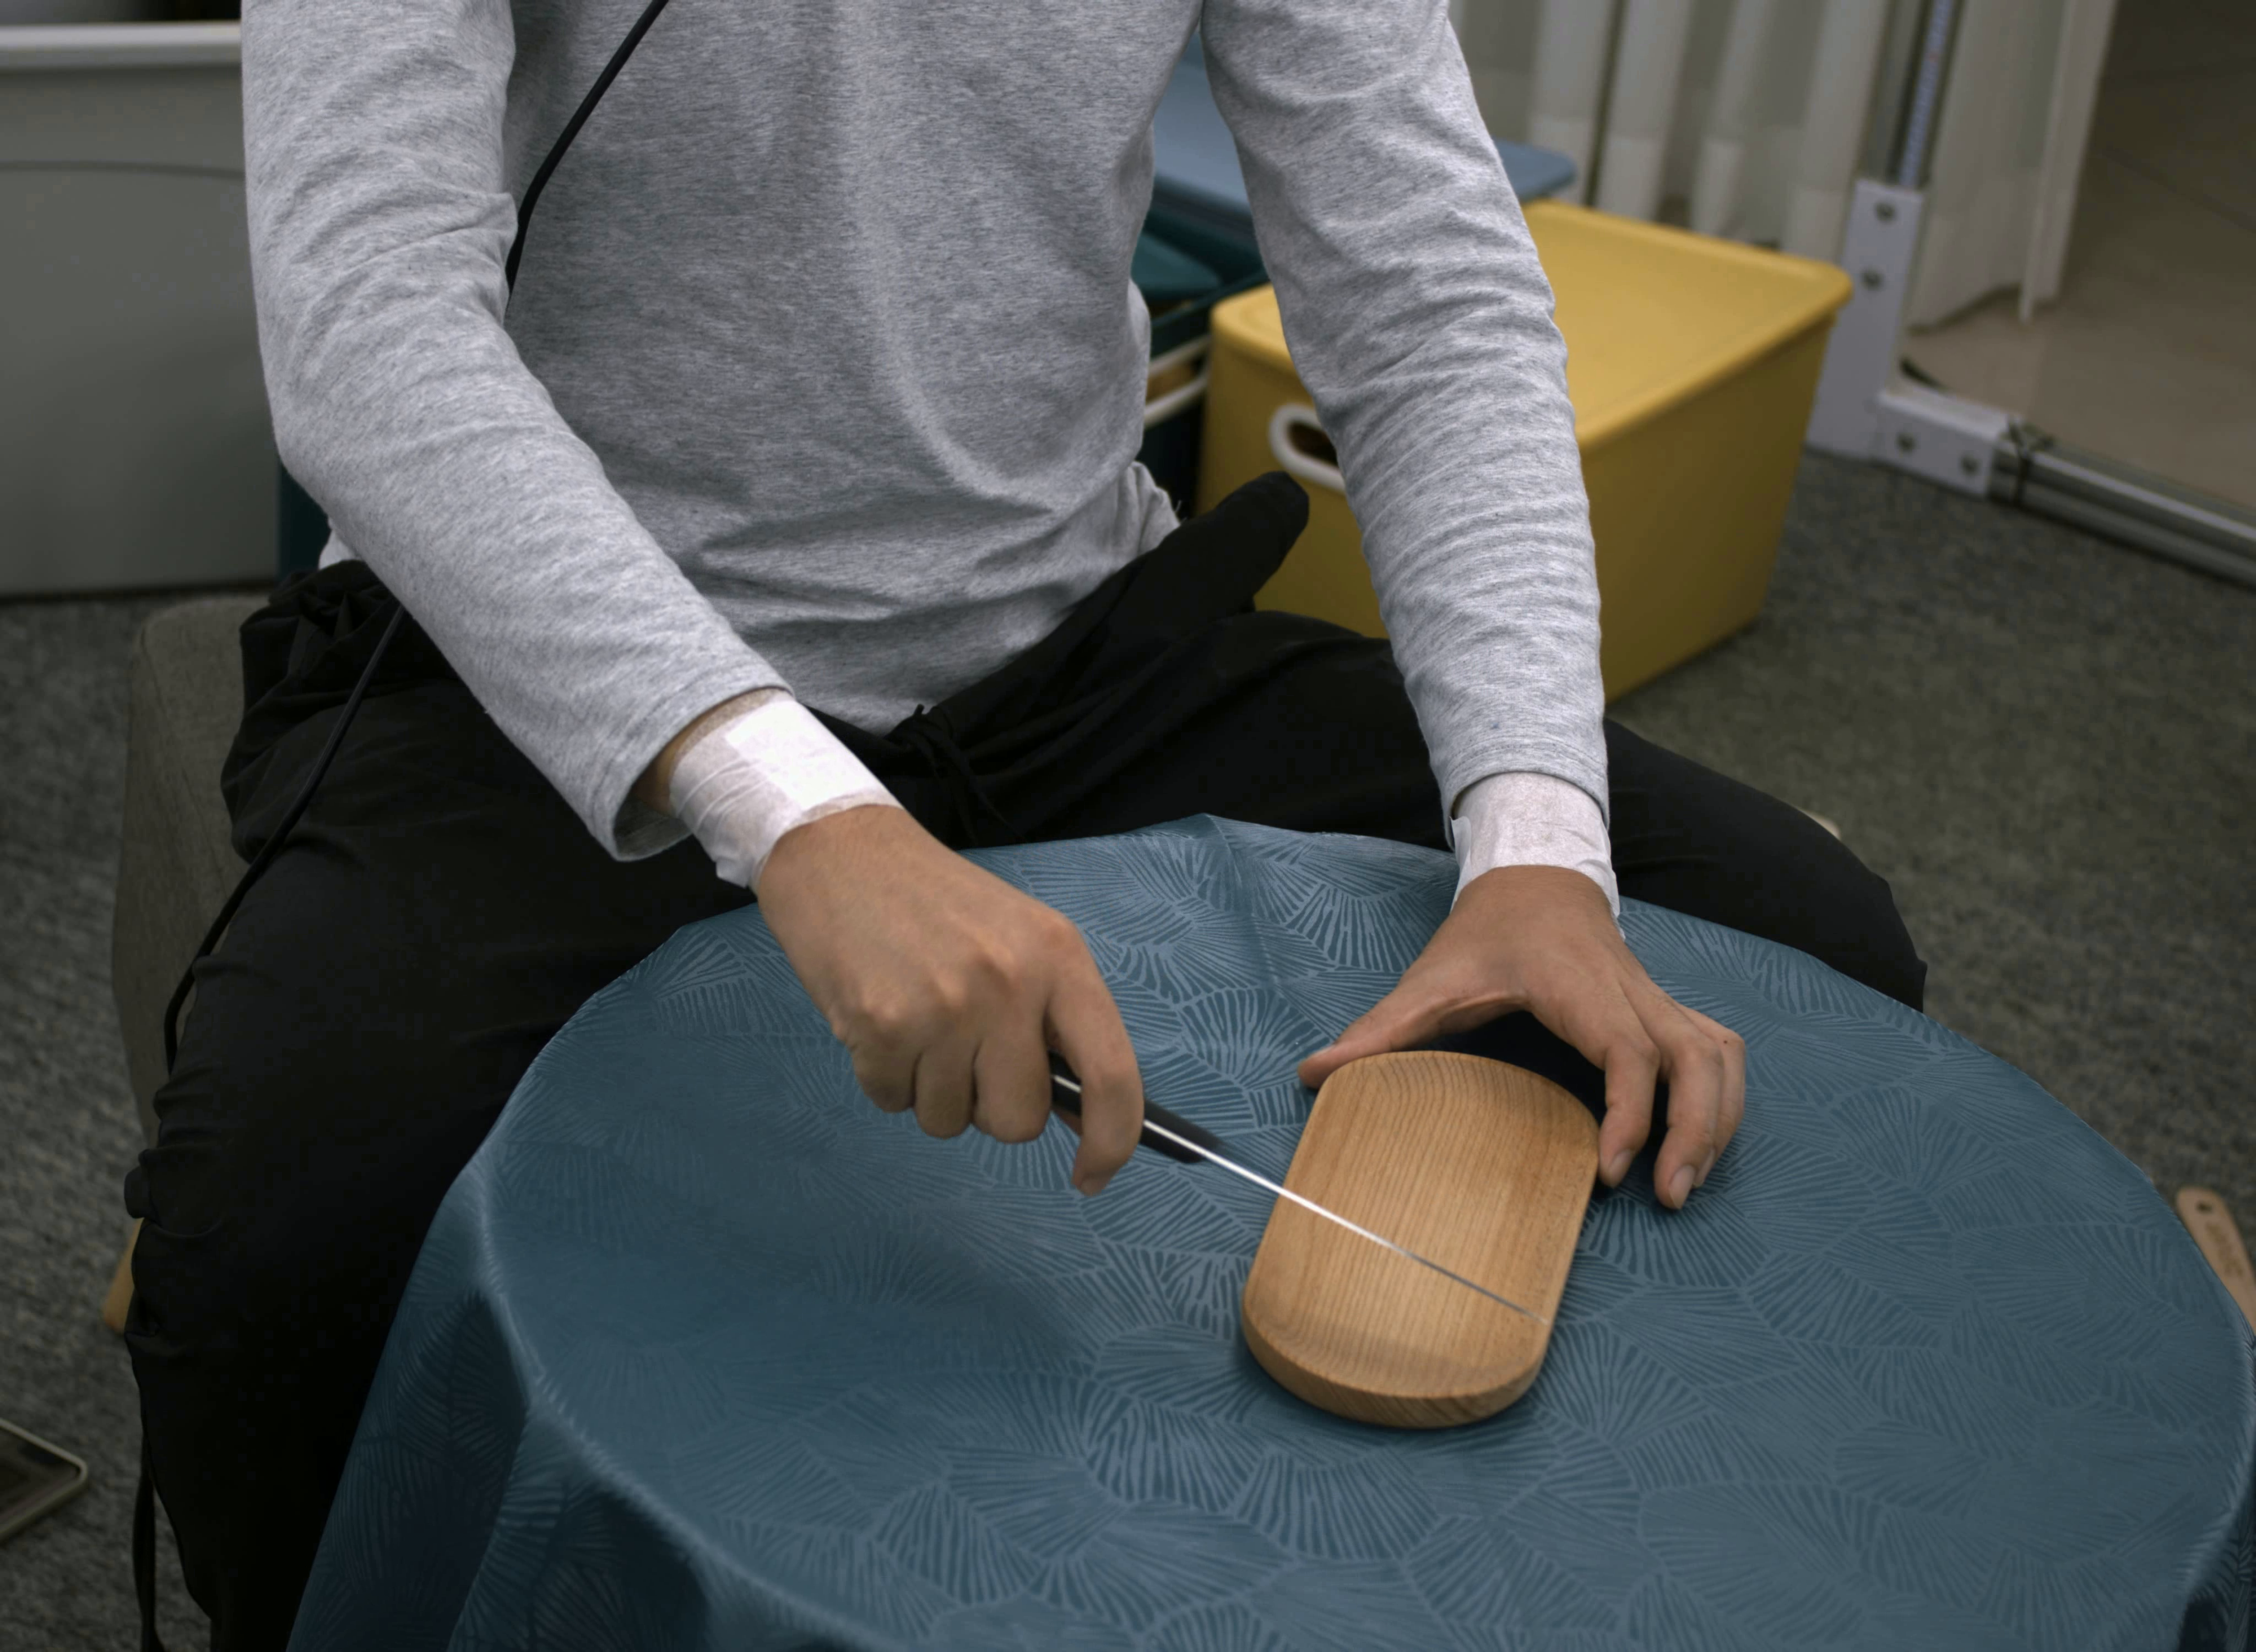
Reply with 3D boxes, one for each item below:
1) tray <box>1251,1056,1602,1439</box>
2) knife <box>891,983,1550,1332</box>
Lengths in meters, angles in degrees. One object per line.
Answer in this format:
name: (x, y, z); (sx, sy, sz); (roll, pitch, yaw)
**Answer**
tray: (0.102, 0.139, 1.782); (0.101, 0.020, 0.232); (9, 28, 7)
knife: (0.029, 0.108, 1.711); (0.238, 0.016, 0.024); (27, -3, 8)
